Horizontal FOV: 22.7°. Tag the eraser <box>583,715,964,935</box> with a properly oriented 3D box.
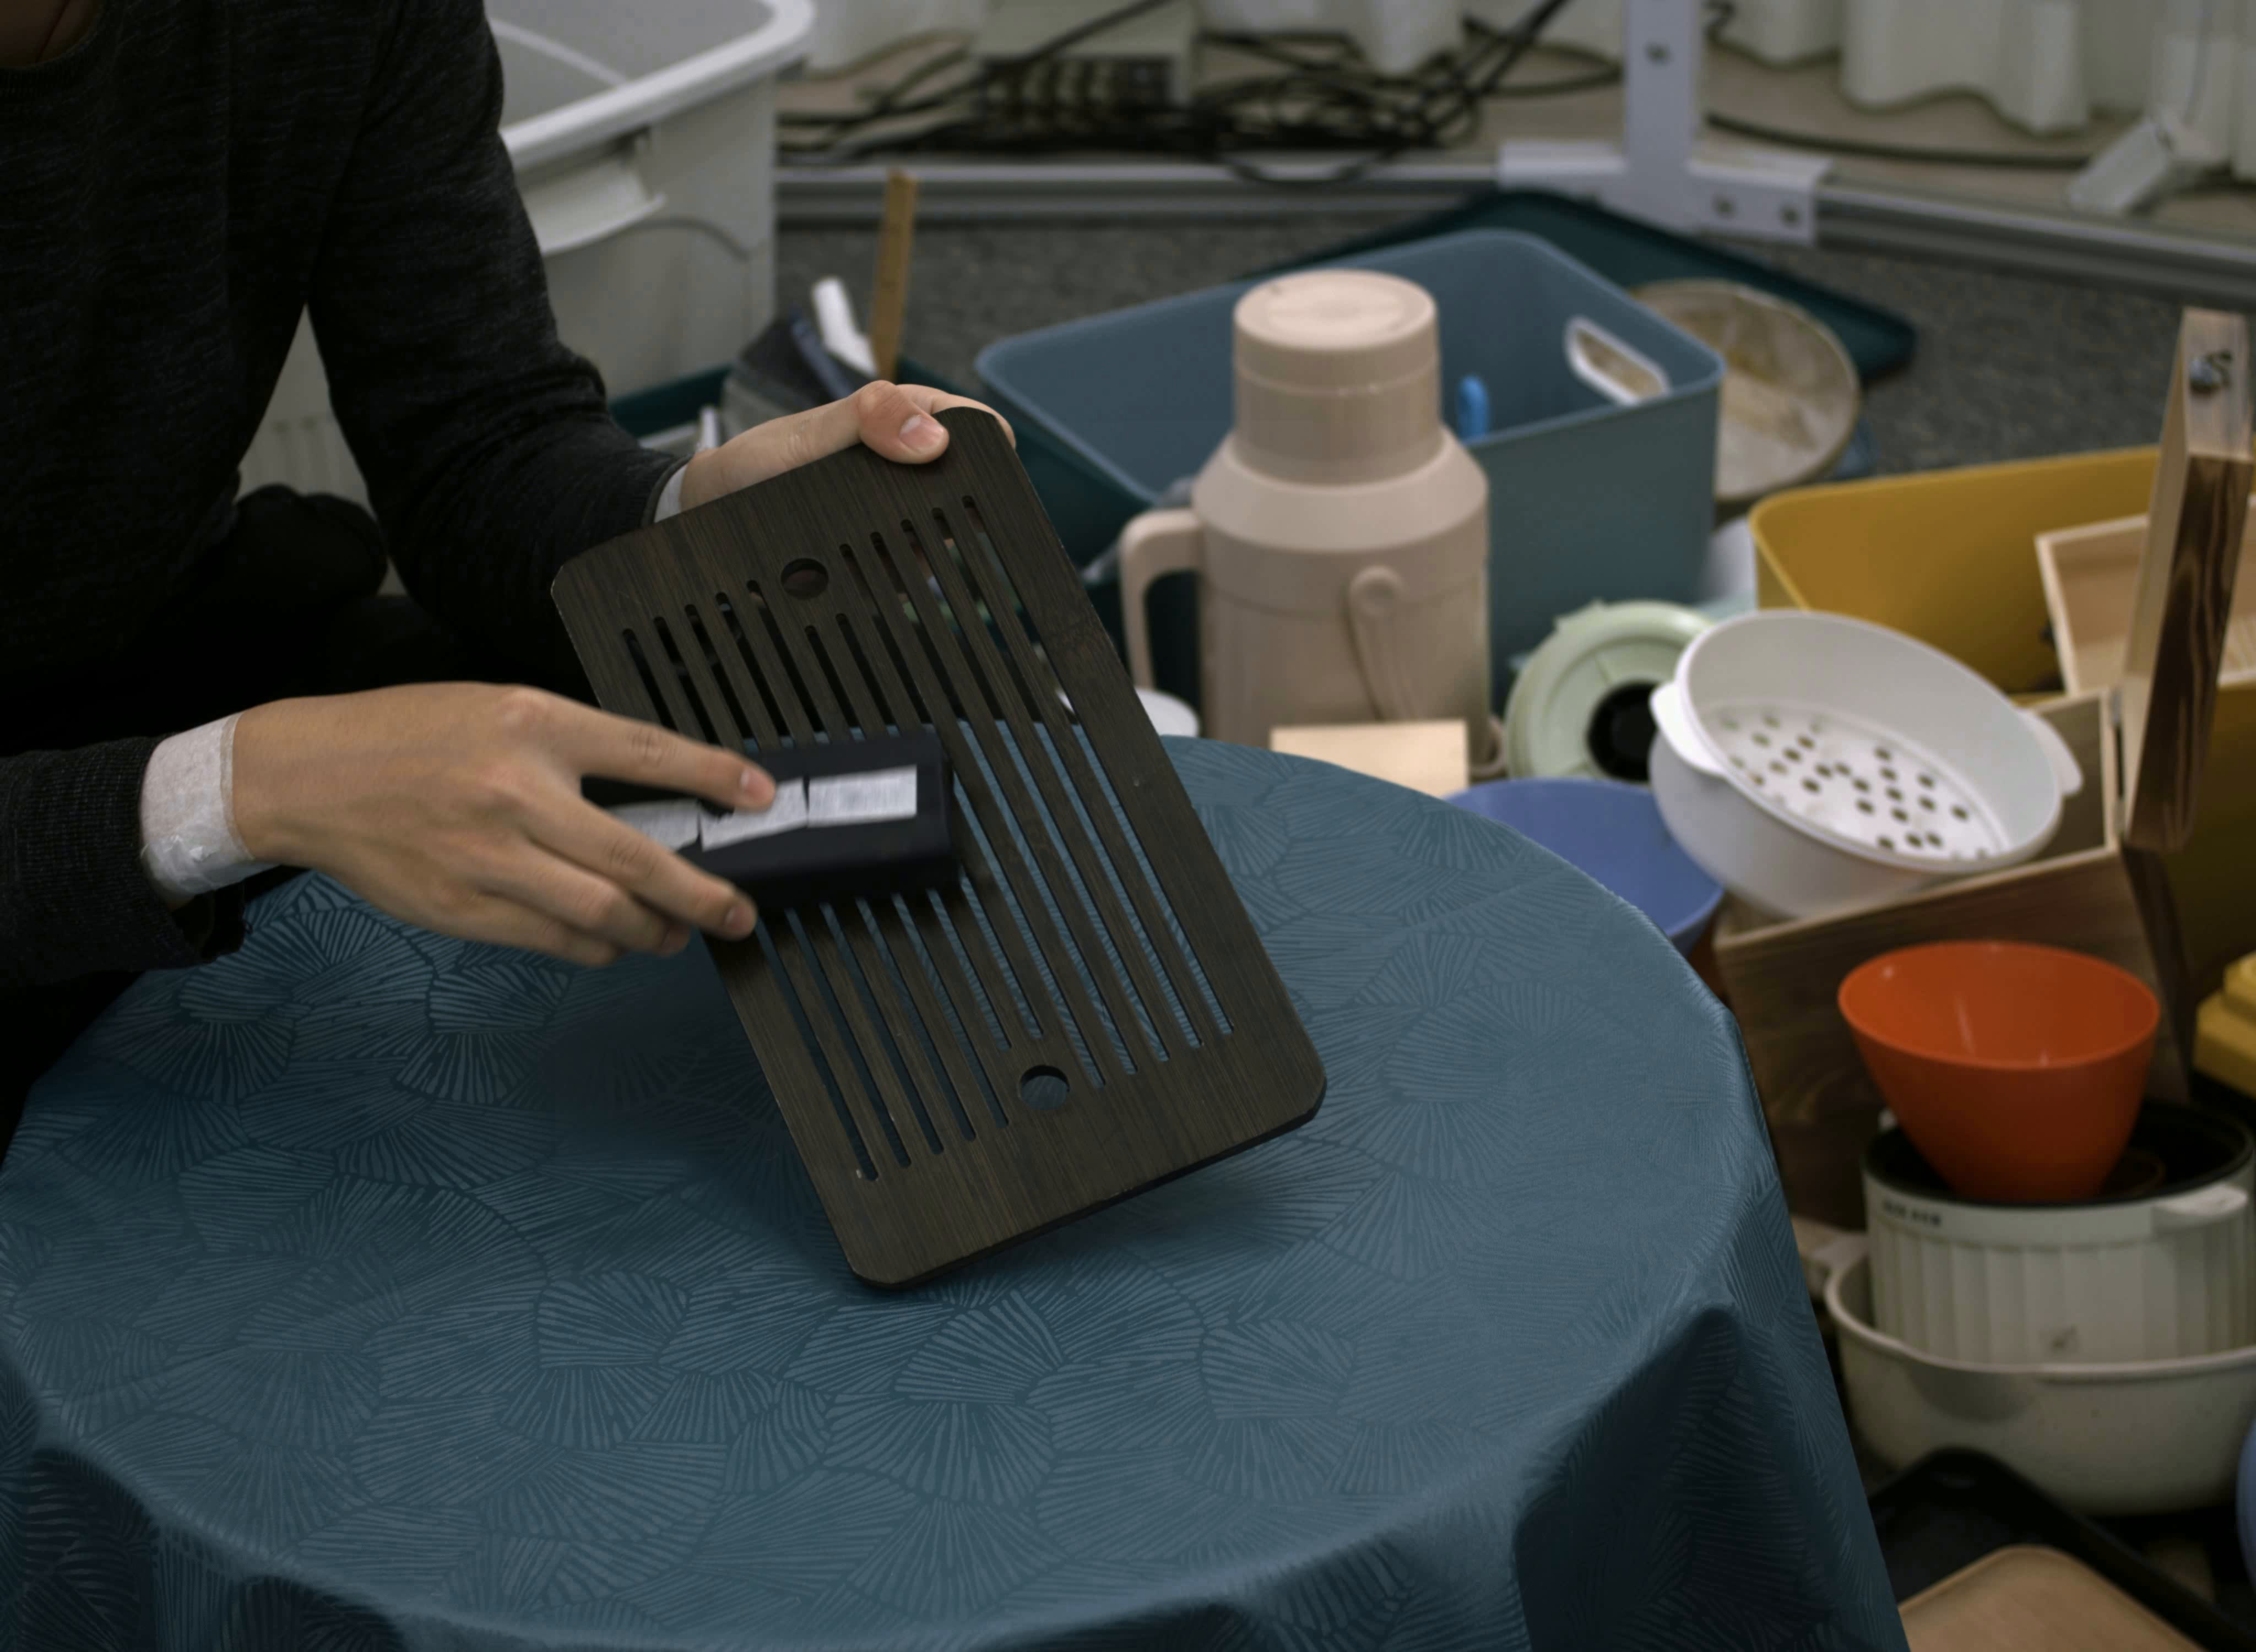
[{"bbox_3d":[-0.117,-0.001,1.879,0.125,0.030,0.054,-10,57,0],"label":"eraser"}]

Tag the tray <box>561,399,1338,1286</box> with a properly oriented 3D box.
[{"bbox_3d":[-0.064,0.001,1.898,0.170,0.018,0.310,-21,60,-9],"label":"tray"}]
